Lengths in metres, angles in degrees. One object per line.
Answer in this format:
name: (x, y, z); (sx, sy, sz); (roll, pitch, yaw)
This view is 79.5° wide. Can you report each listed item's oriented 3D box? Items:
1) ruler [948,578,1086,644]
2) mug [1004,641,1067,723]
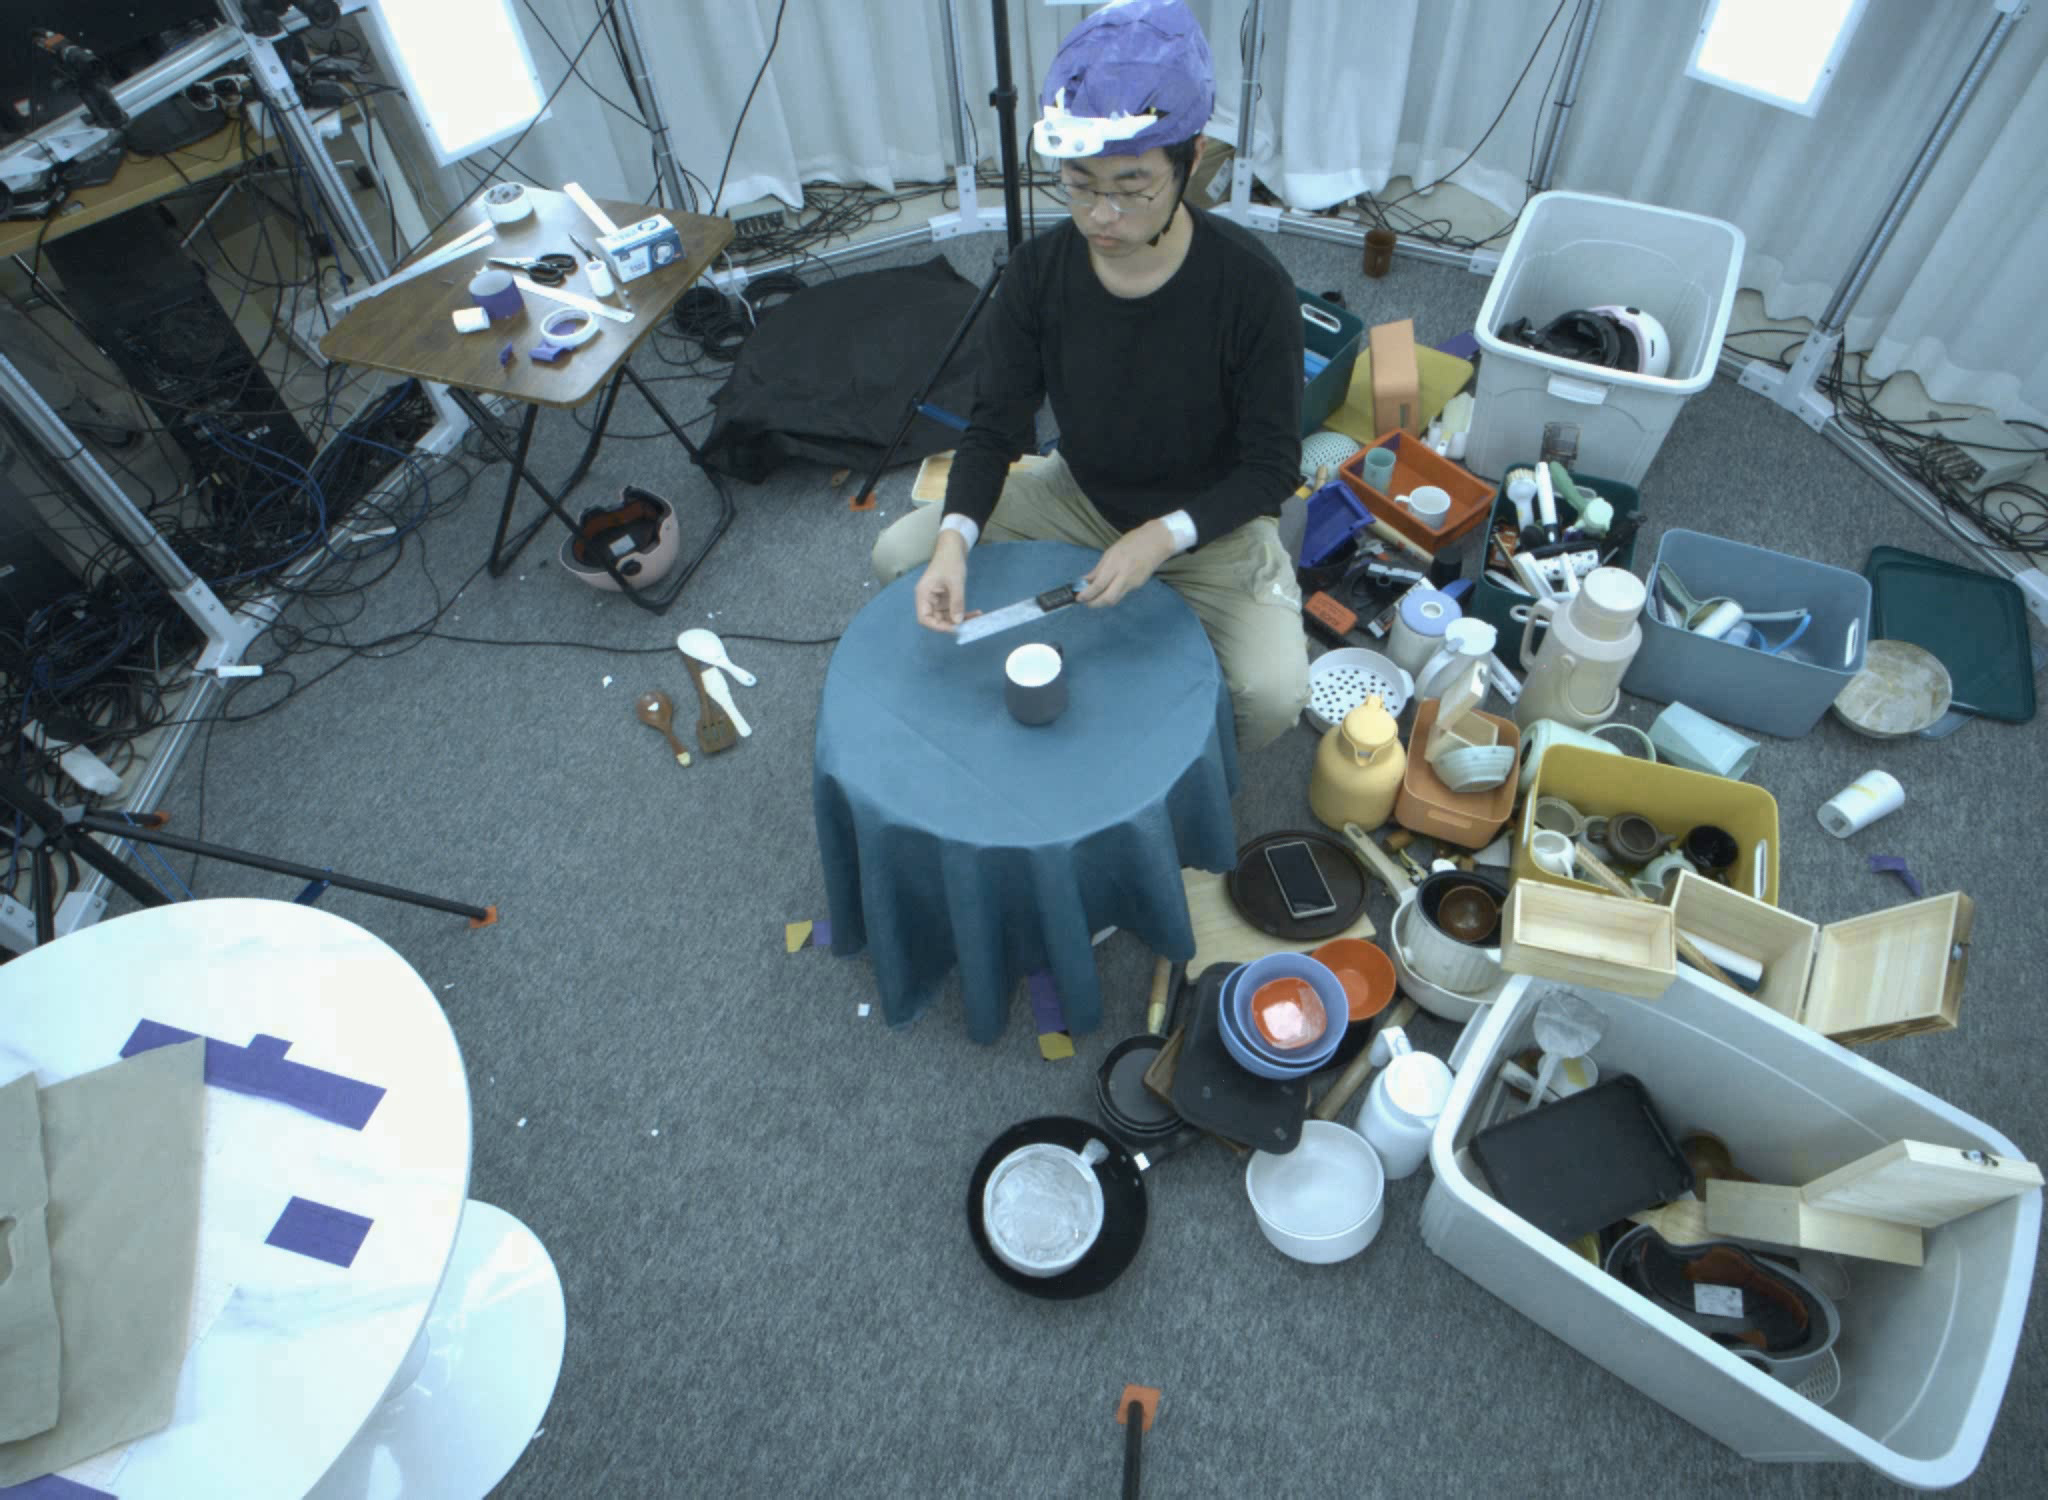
ruler: (-0.007, -0.208, 1.806); (0.220, 0.024, 0.037); (-21, 57, -20)
mug: (0.024, -0.108, 1.806); (0.092, 0.091, 0.123); (24, 60, 18)
